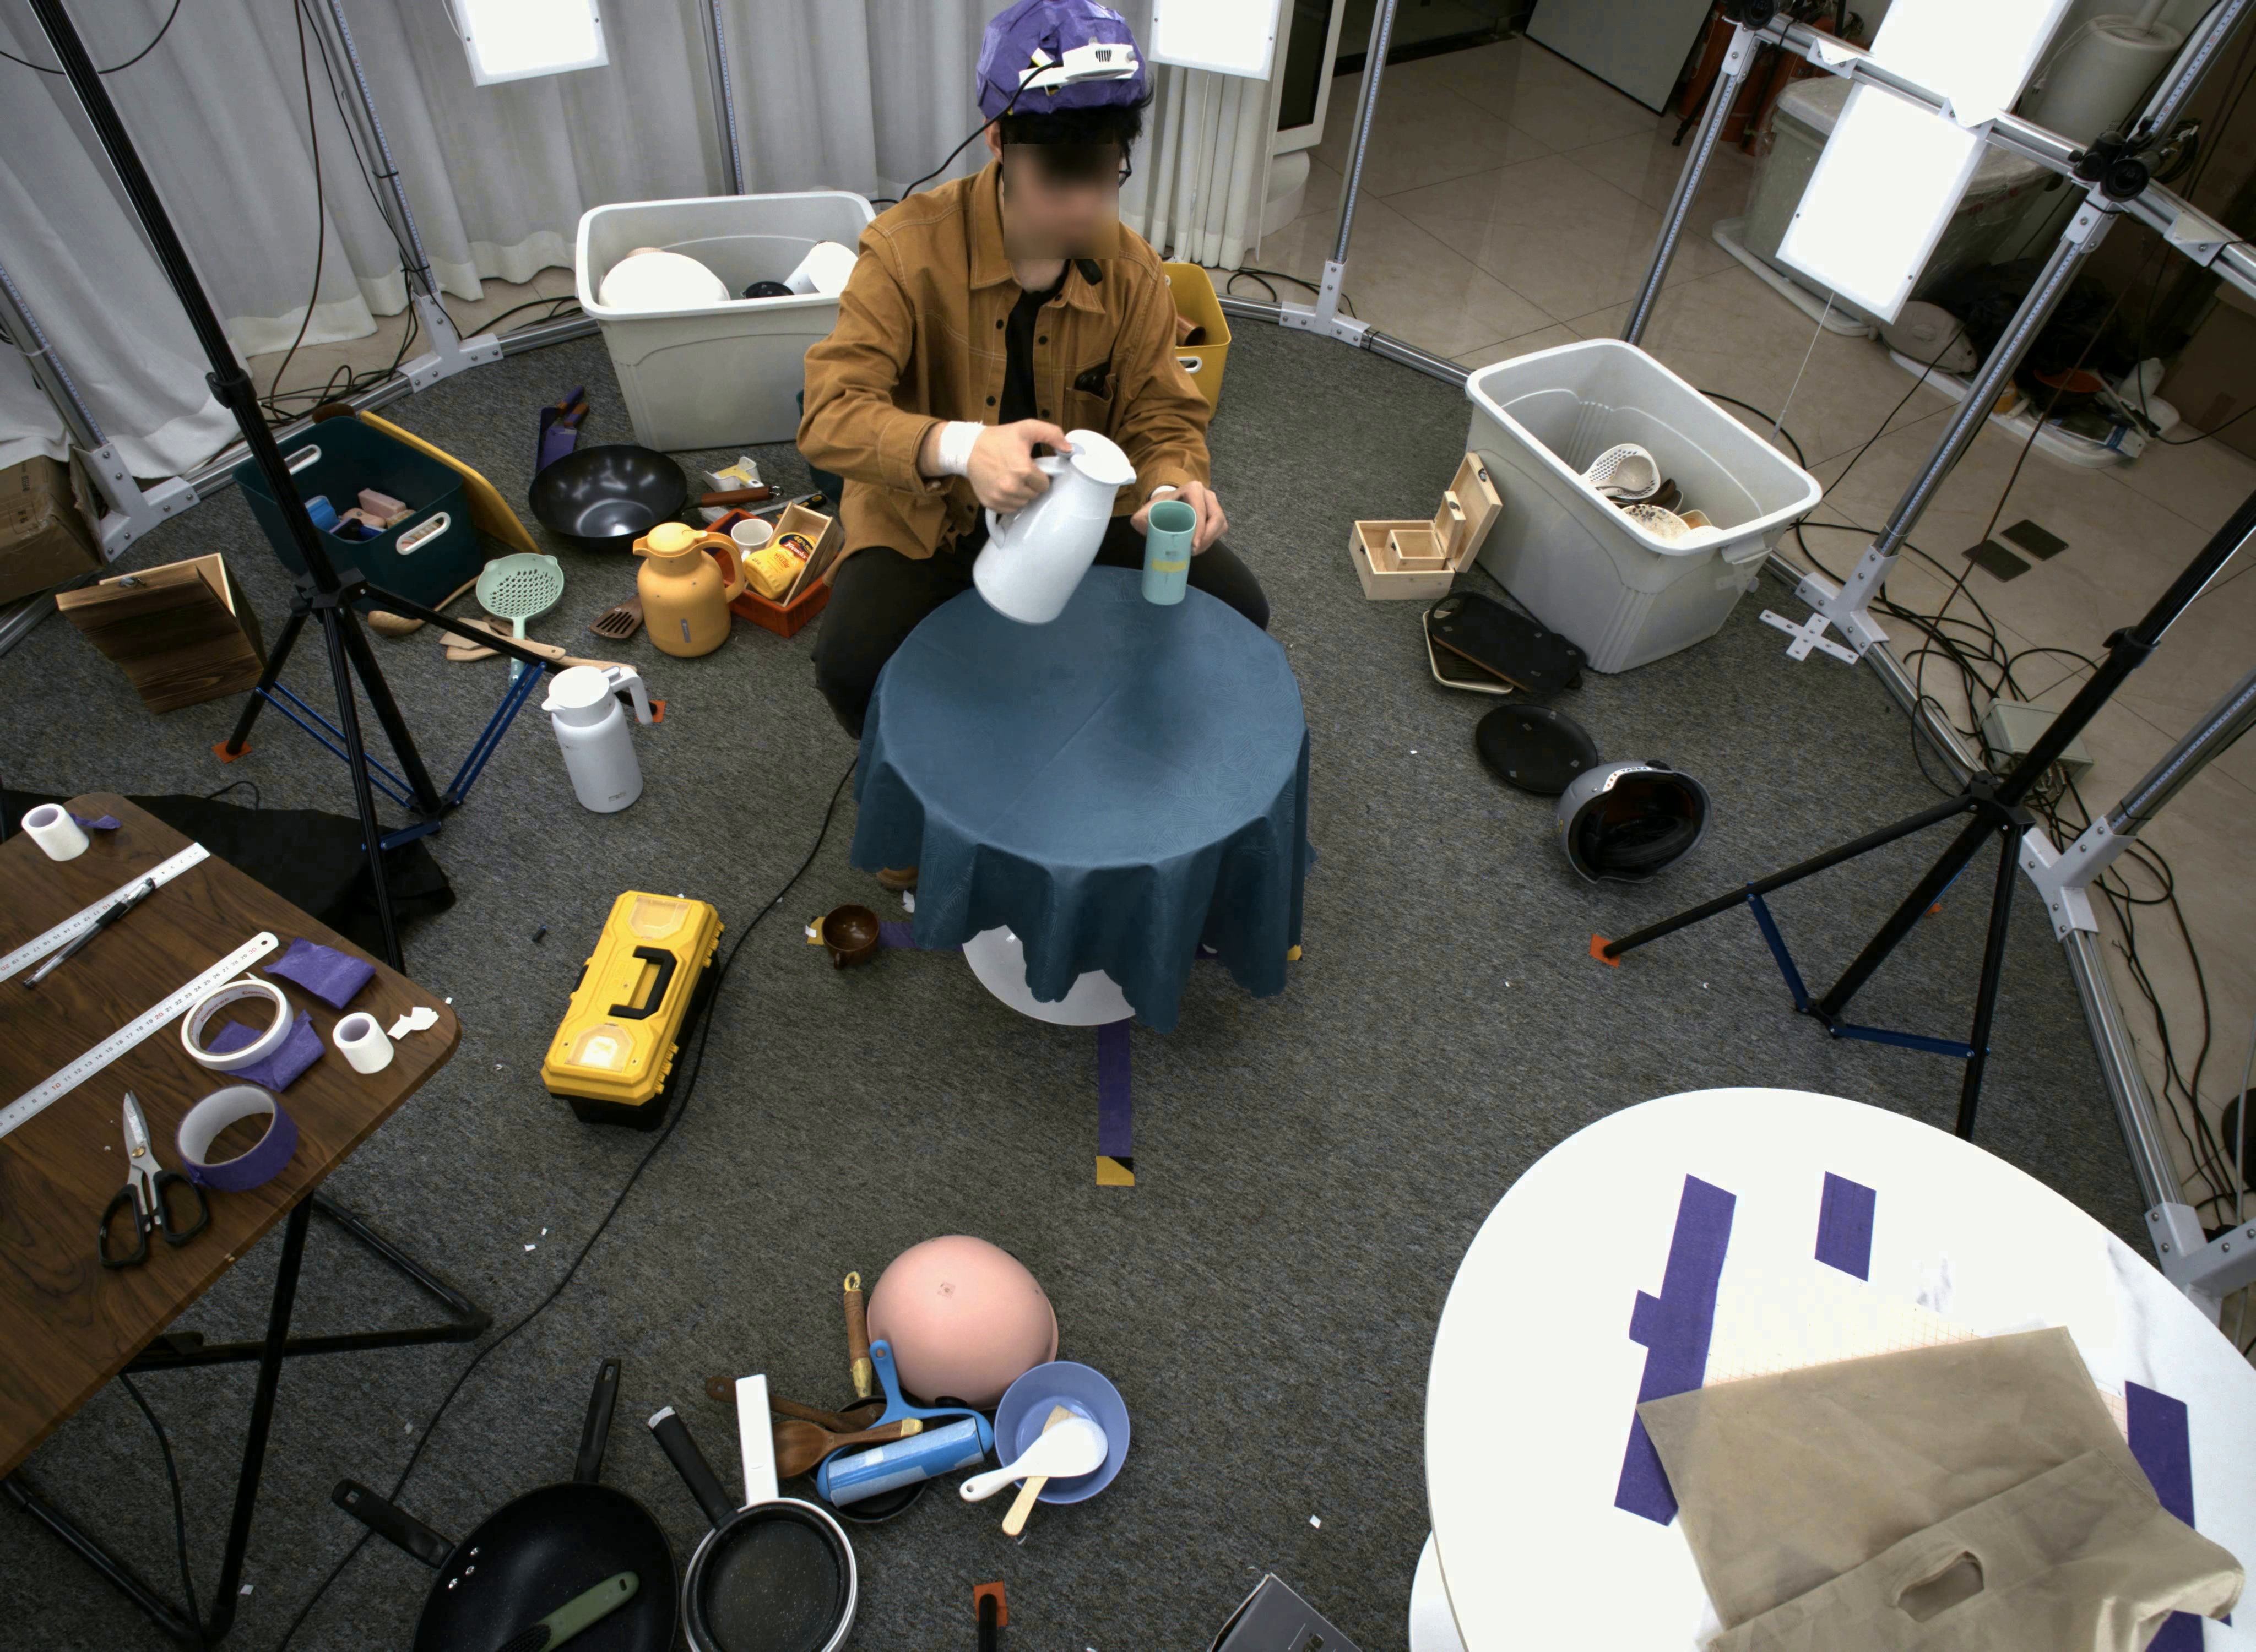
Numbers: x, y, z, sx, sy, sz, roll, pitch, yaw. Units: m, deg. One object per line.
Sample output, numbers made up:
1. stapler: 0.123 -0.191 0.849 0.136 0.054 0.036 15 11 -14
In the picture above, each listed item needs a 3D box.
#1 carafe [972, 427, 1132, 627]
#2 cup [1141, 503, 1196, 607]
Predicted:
1. carafe: -0.109 -0.383 1.626 0.167 0.244 0.135 0 56 -31
2. cup: 0.052 -0.361 1.716 0.066 0.129 0.068 2 55 -3
